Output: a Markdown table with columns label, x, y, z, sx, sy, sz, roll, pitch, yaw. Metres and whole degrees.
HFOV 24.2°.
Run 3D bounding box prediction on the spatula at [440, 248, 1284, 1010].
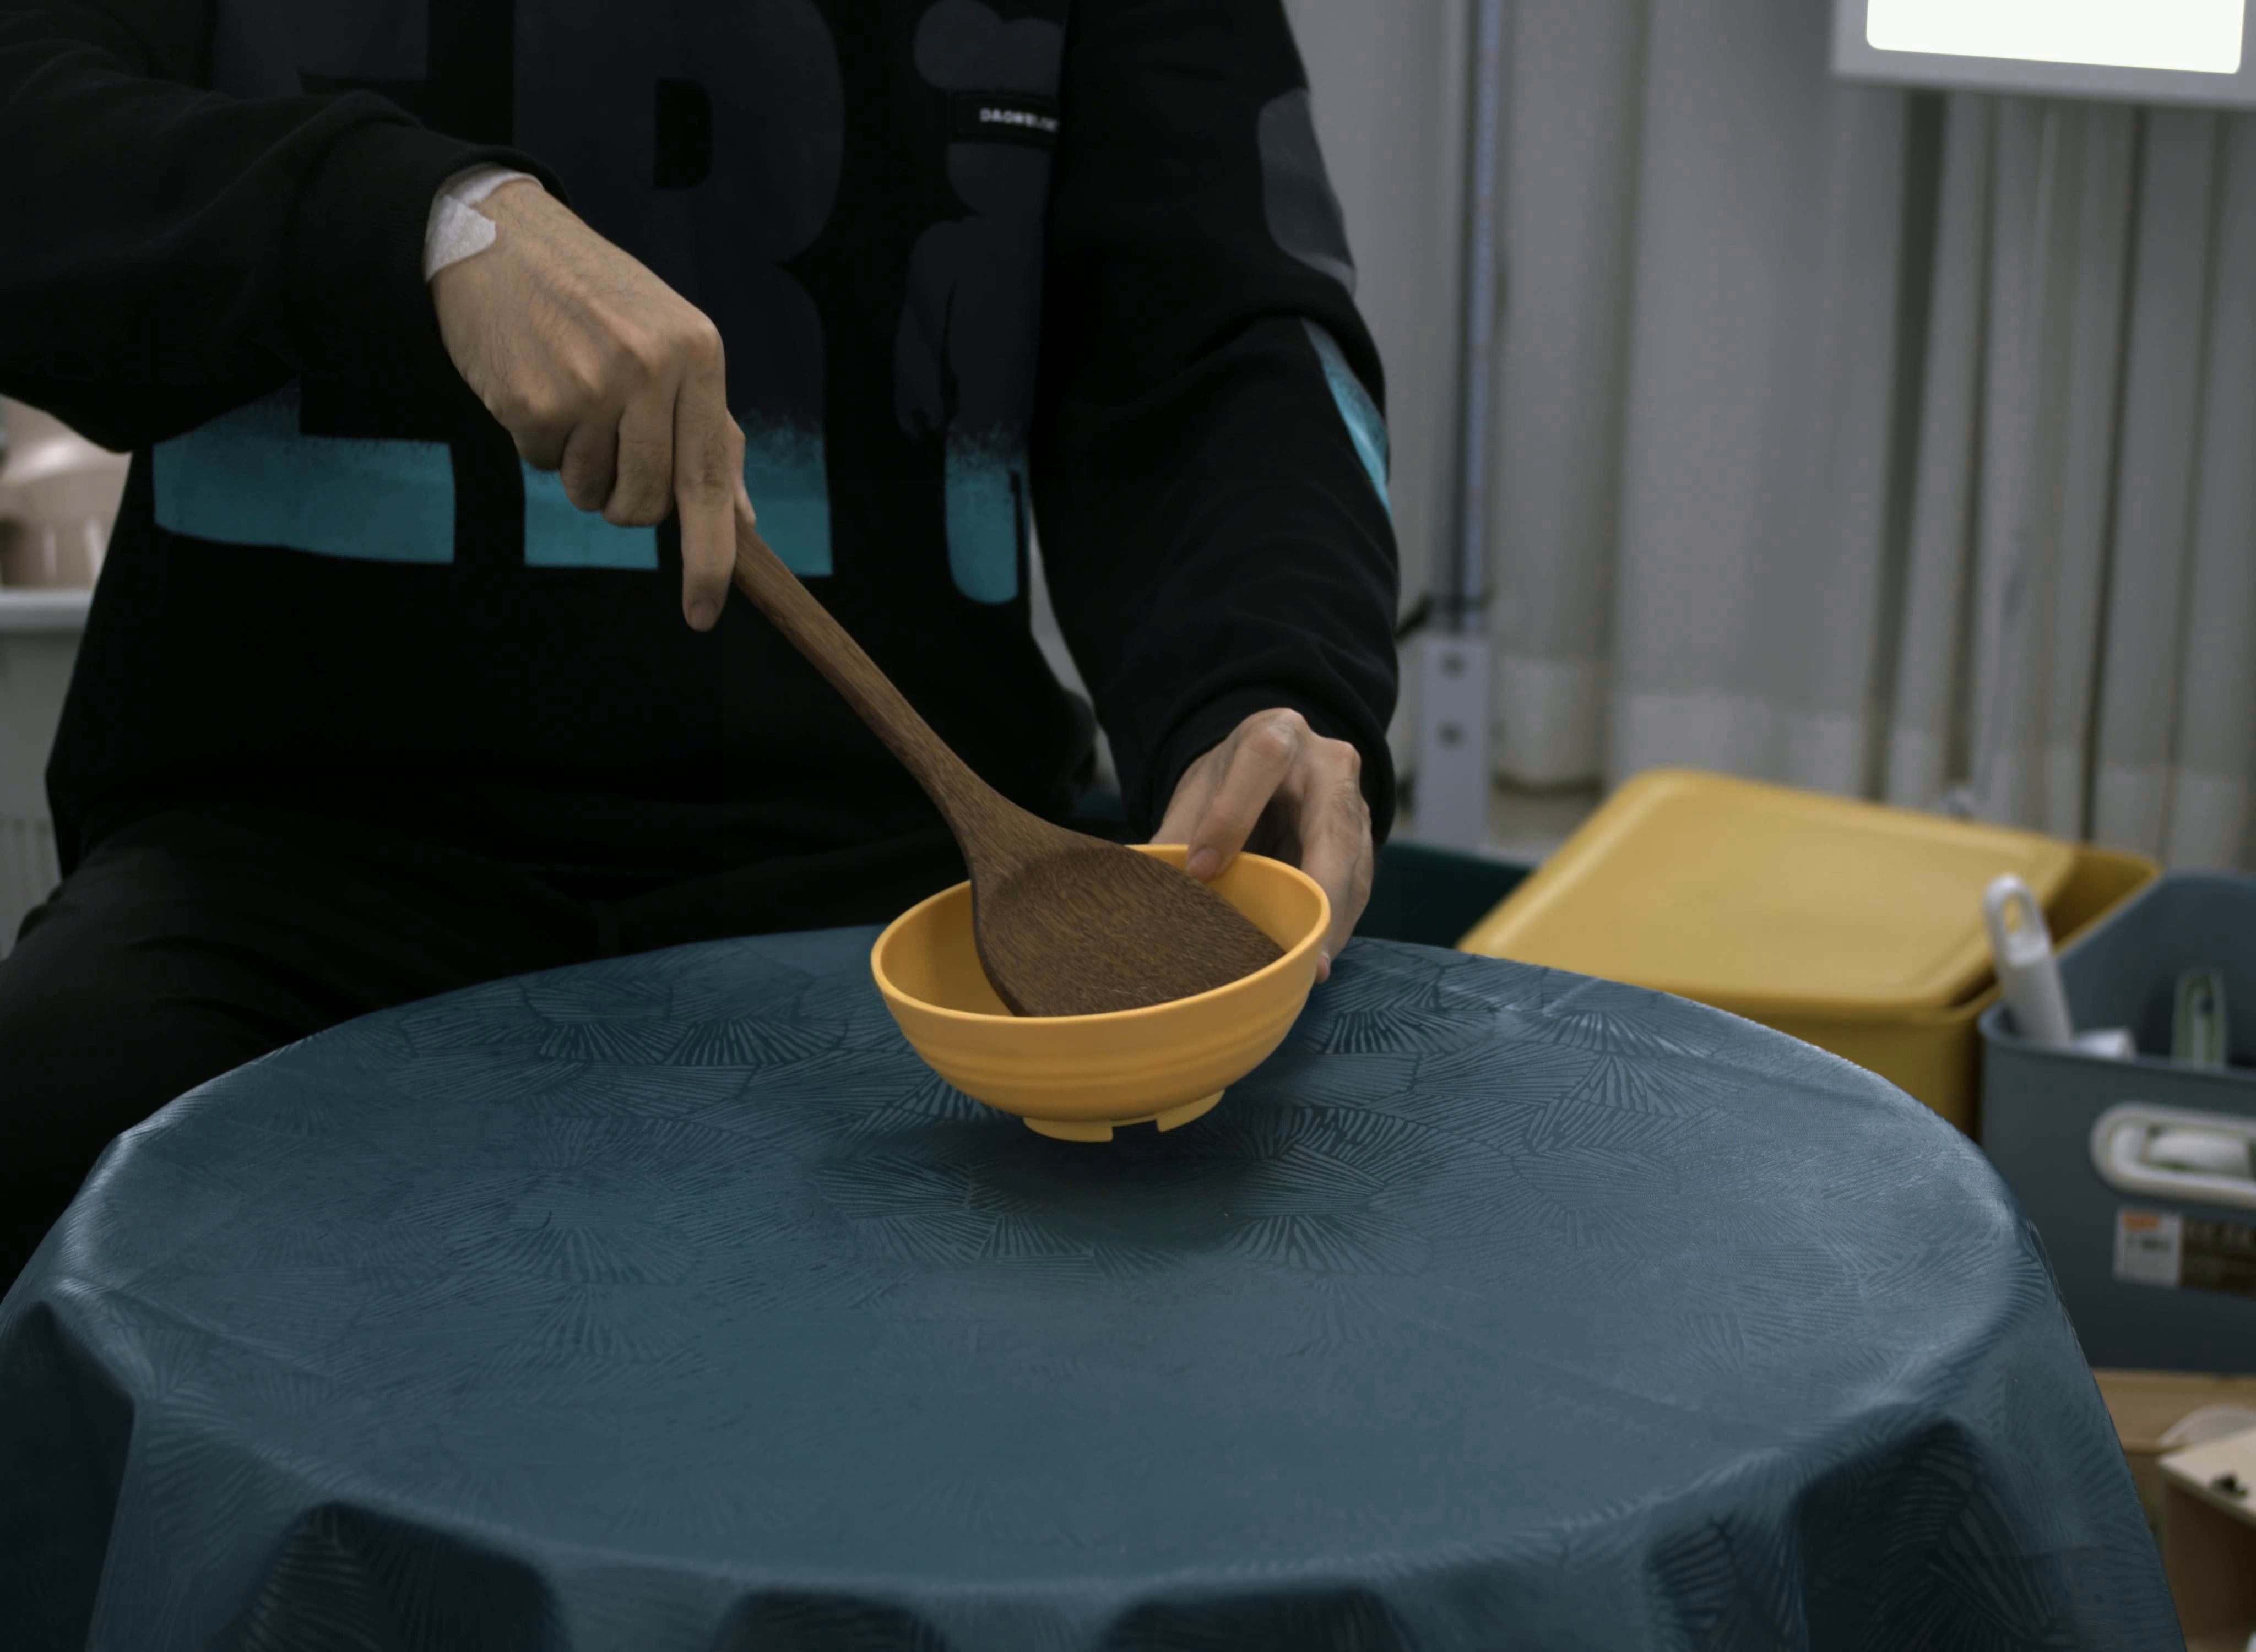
| label | x | y | z | sx | sy | sz | roll | pitch | yaw |
| --- | --- | --- | --- | --- | --- | --- | --- | --- | --- |
| spatula | -0.099 | -0.060 | 1.699 | 0.096 | 0.016 | 0.383 | -30 | 69 | -40 |

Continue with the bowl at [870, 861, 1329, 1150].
| label | x | y | z | sx | sy | sz | roll | pitch | yaw |
| --- | --- | --- | --- | --- | --- | --- | --- | --- | --- |
| bowl | -0.007 | 0.062 | 1.657 | 0.145 | 0.060 | 0.144 | -4 | 19 | 2 |
